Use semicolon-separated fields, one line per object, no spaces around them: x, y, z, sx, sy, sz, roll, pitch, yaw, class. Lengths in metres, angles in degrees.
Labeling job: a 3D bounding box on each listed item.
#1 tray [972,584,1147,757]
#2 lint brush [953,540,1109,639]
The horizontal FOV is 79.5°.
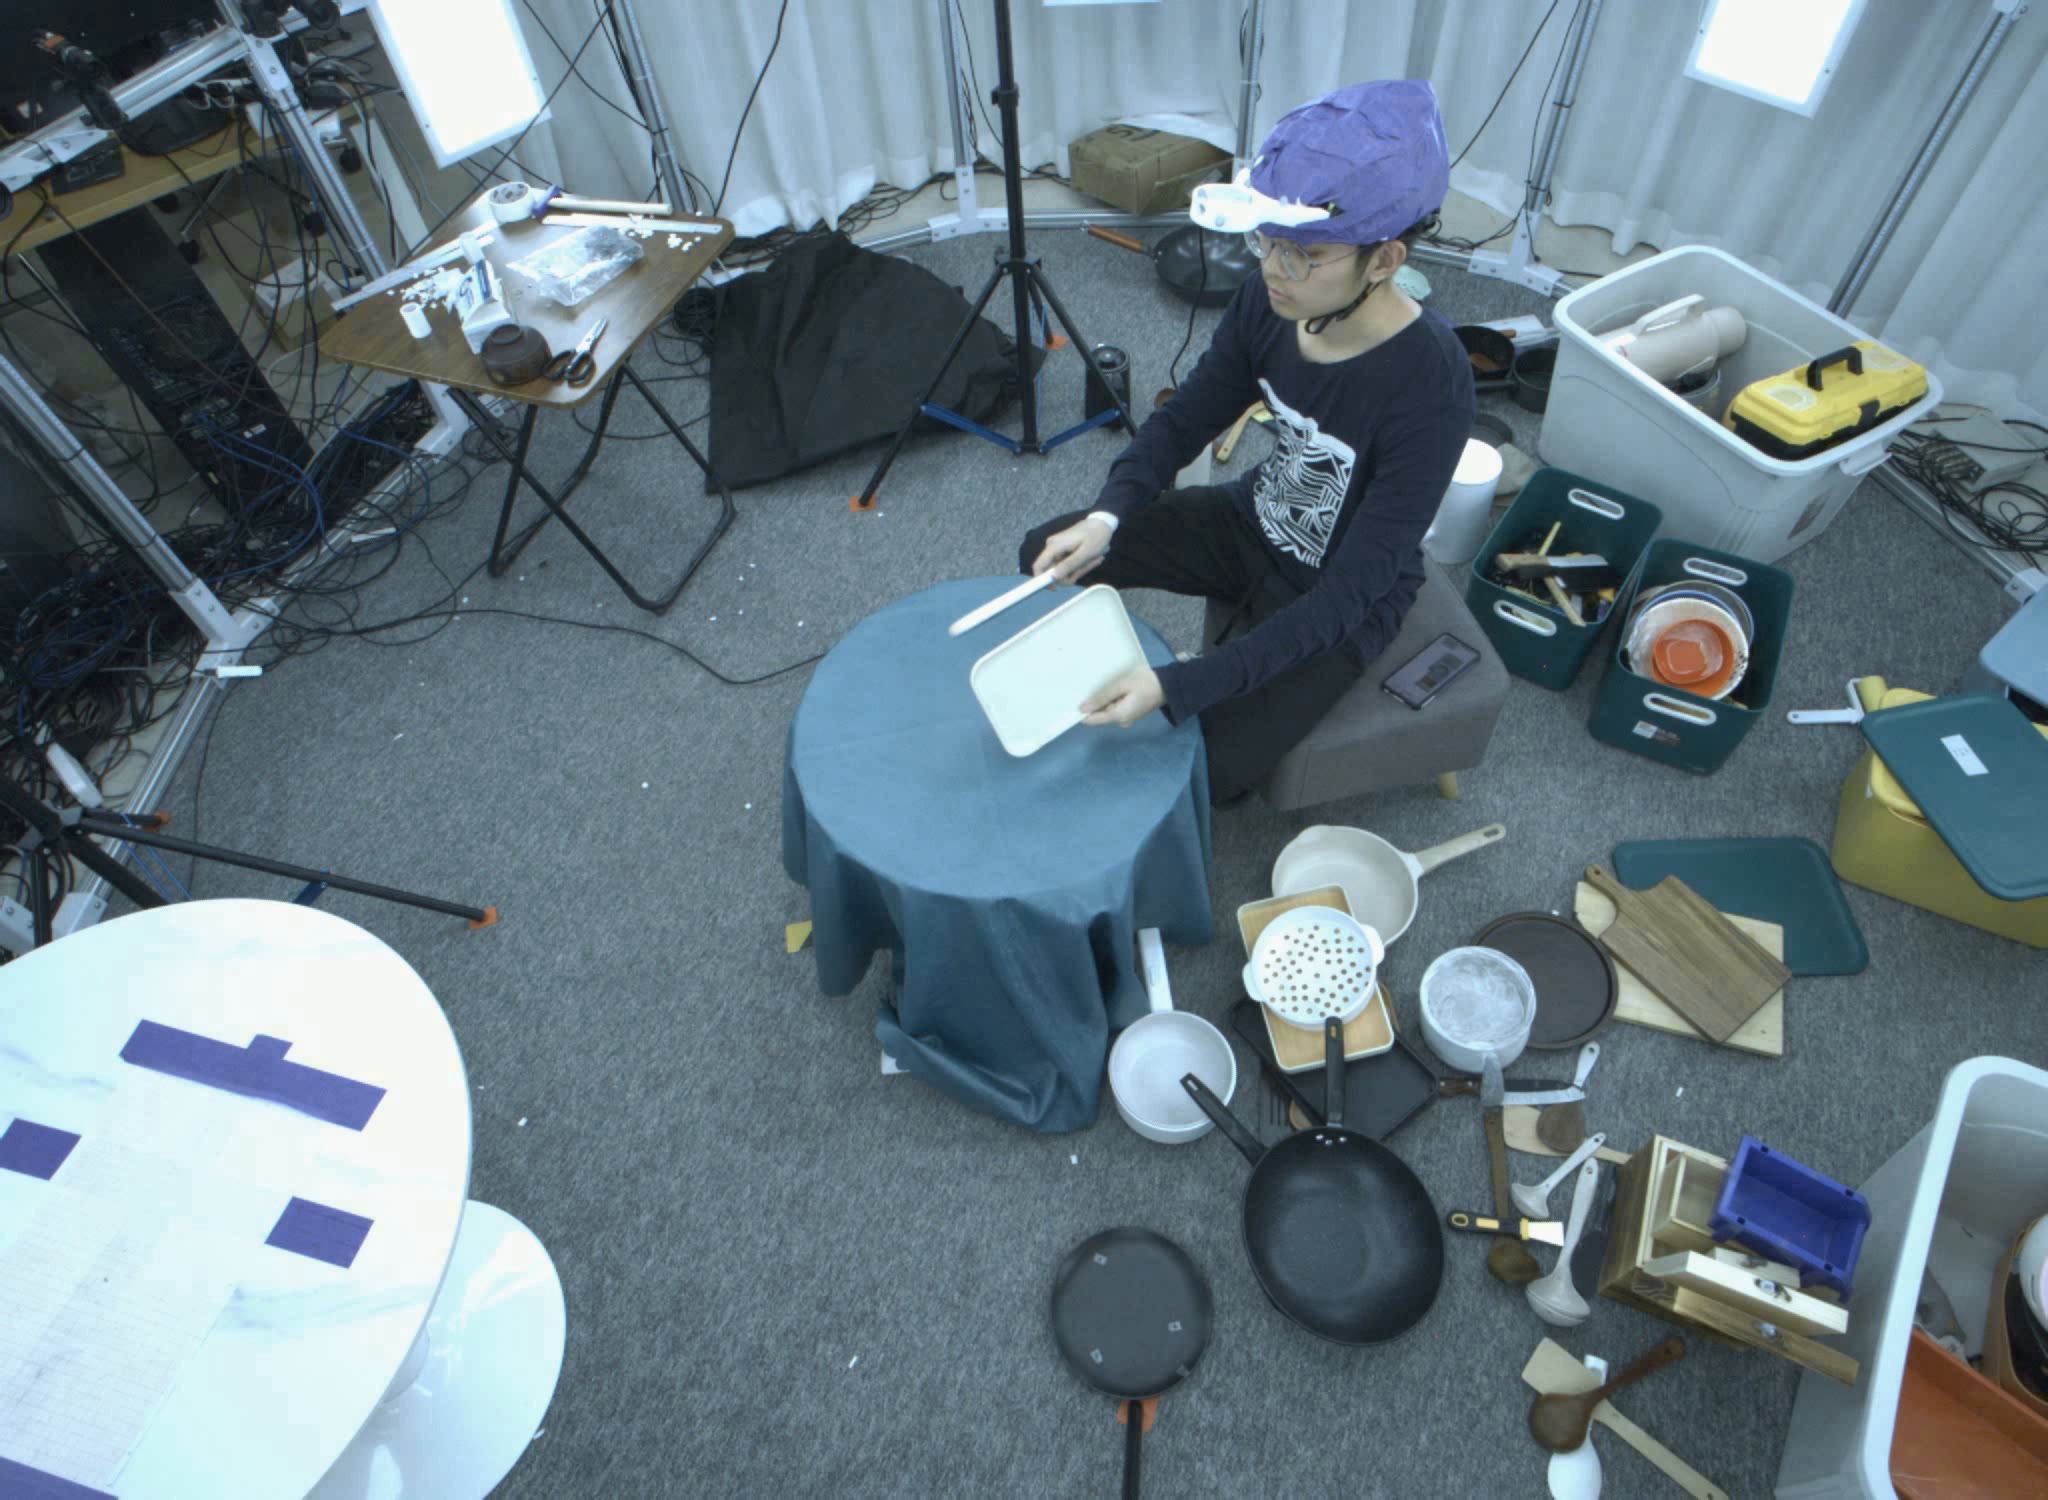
0.050;-0.109;1.693;0.240;0.174;0.017;-34;36;-10;tray
0.016;-0.233;1.744;0.312;0.059;0.021;-35;92;-34;lint brush
